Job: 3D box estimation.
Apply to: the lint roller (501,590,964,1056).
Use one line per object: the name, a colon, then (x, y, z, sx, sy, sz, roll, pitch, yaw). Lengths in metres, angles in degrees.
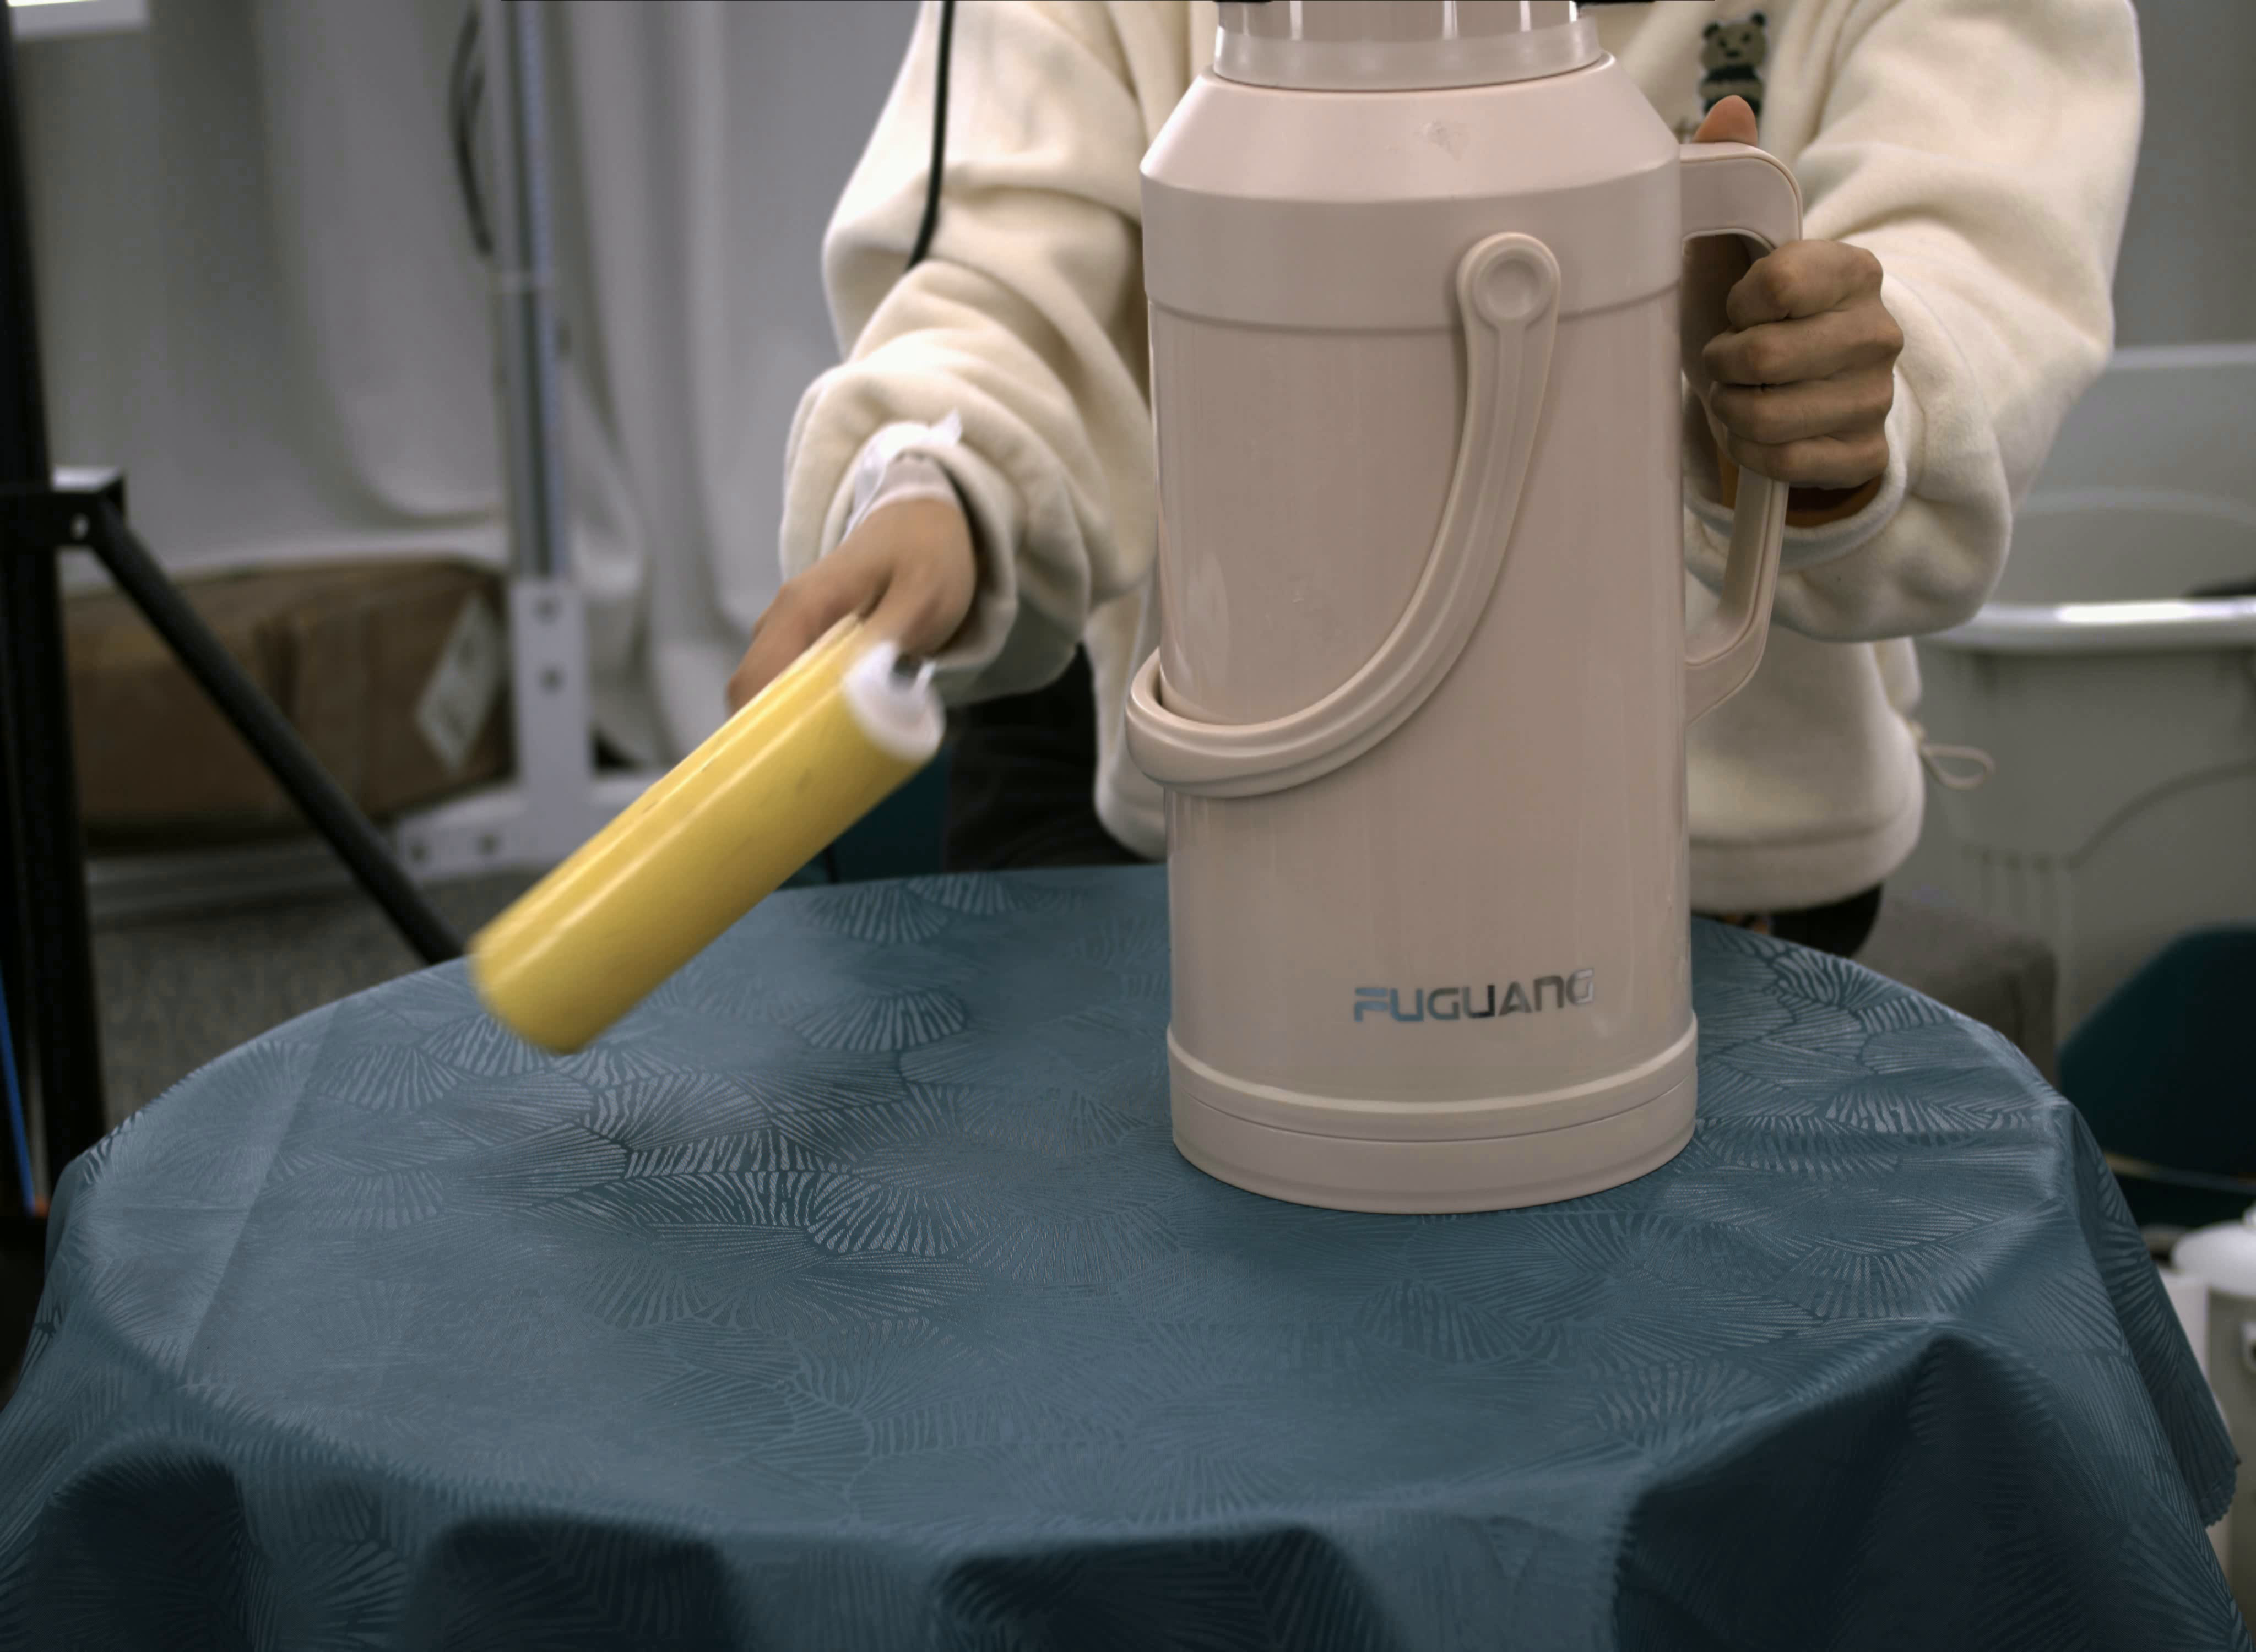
lint roller: (-0.114, -0.033, 1.653, 0.176, 0.050, 0.193, -43, 20, 25)

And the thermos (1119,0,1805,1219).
thermos: (0.098, -0.100, 1.553, 0.204, 0.406, 0.178, -5, 15, -14)
